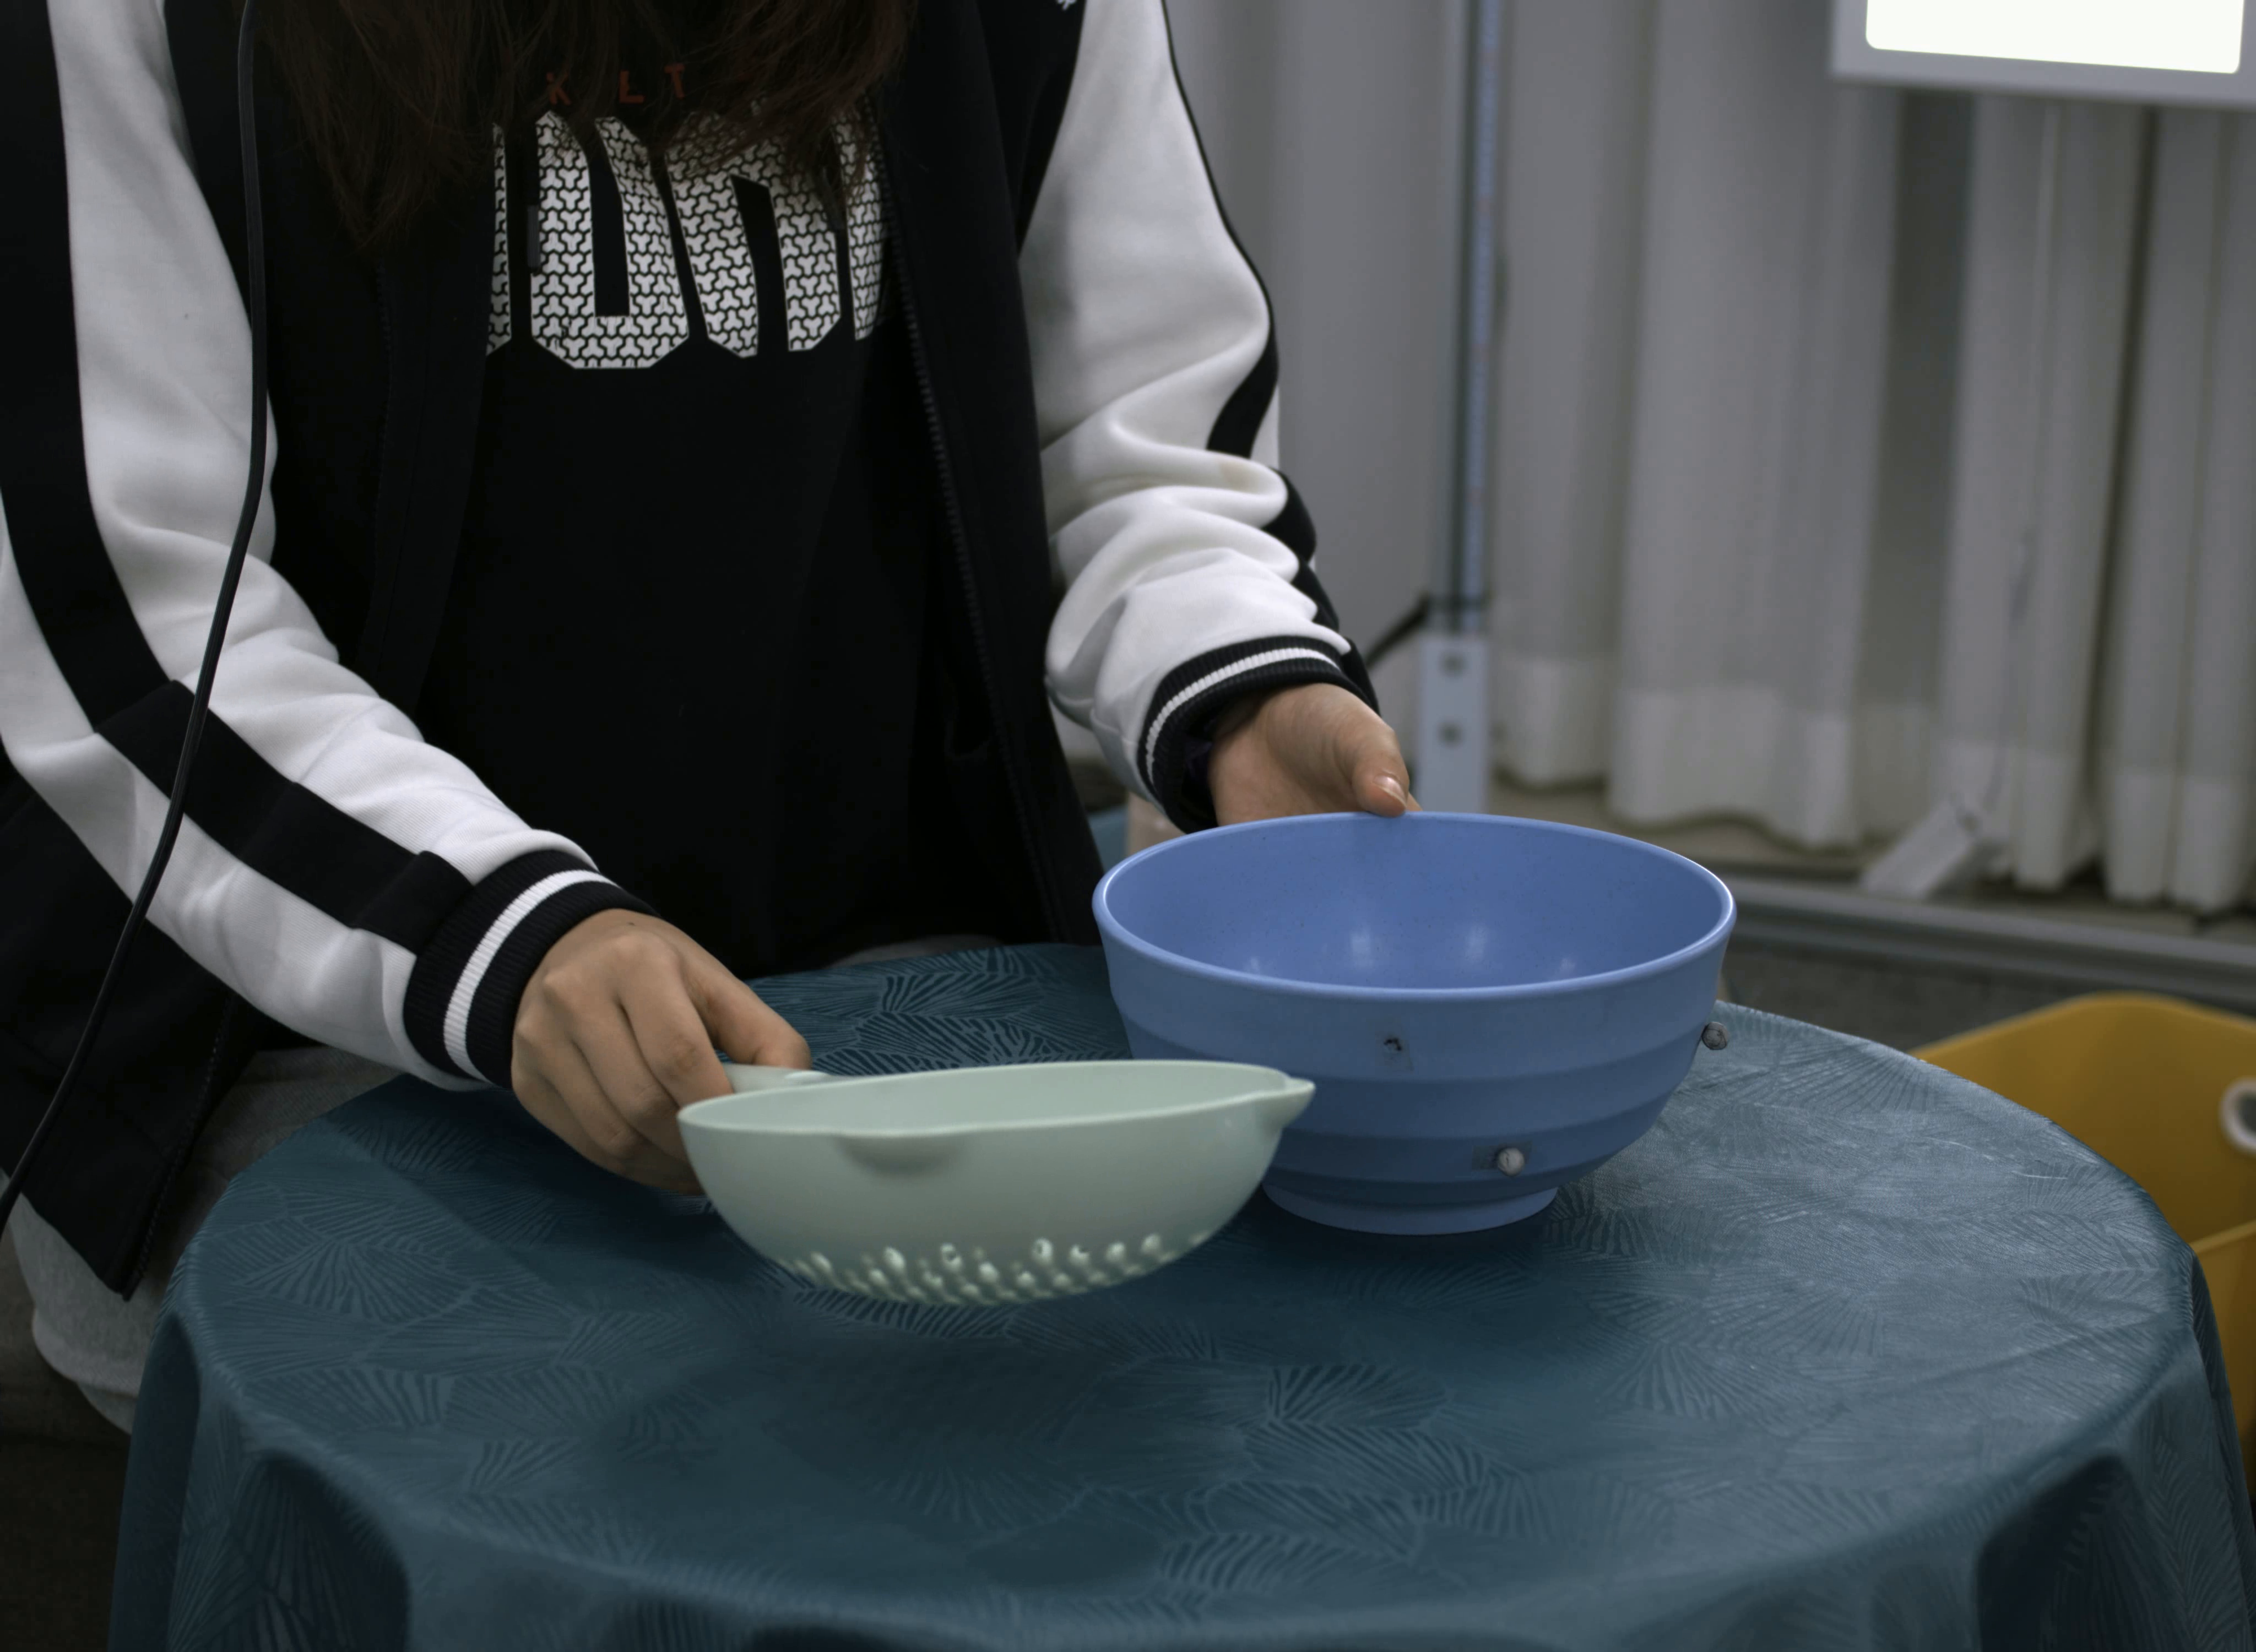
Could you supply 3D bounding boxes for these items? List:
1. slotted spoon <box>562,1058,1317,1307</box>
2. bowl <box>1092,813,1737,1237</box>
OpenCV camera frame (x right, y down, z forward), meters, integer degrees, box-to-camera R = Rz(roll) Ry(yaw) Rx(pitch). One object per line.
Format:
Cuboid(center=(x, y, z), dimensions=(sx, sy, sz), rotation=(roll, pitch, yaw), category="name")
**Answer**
Cuboid(center=(-0.087, 0.086, 1.521), dimensions=(0.170, 0.076, 0.355), rotation=(-4, 9, -30), category="slotted spoon")
Cuboid(center=(0.087, 0.066, 1.613), dimensions=(0.196, 0.096, 0.195), rotation=(0, 16, 1), category="bowl")
